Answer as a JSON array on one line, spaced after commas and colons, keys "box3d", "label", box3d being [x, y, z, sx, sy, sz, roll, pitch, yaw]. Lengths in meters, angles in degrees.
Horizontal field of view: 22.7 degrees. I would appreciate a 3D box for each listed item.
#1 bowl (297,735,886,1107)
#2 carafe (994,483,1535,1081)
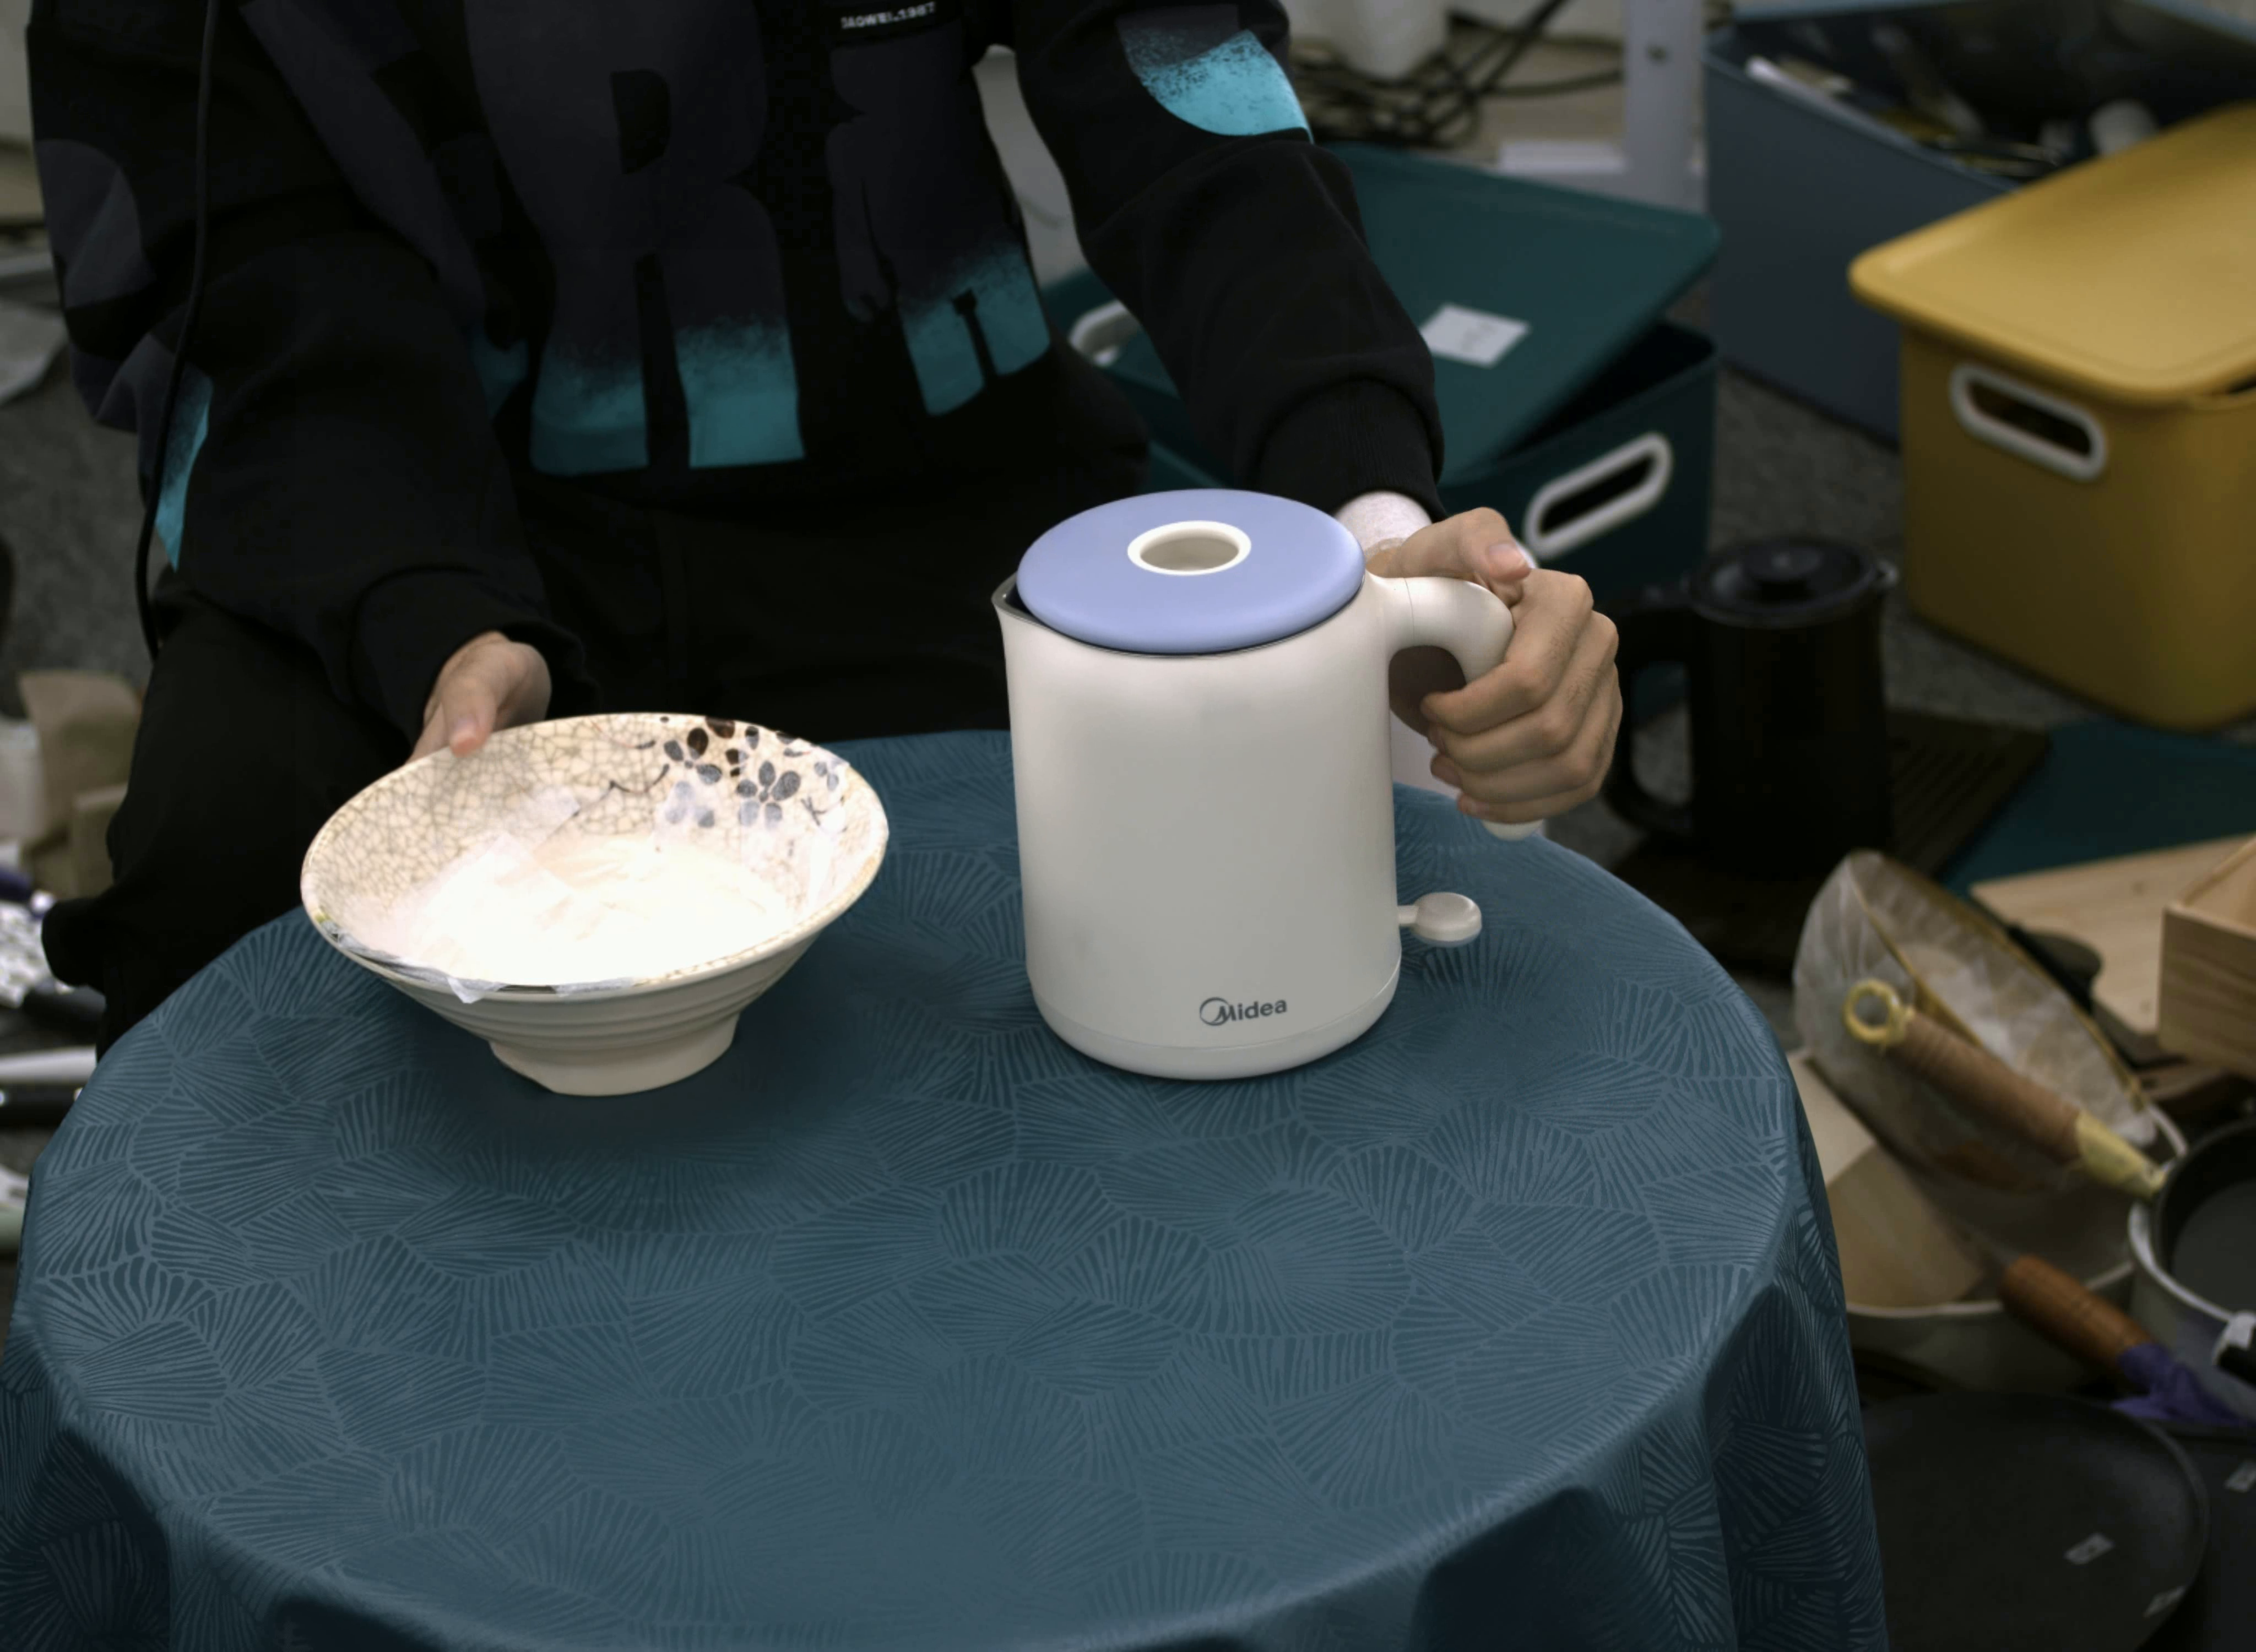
[{"box3d": [-0.183, 0.044, 1.950, 0.203, 0.077, 0.207, -2, 24, 1], "label": "bowl"}, {"box3d": [0.049, -0.018, 1.942, 0.191, 0.180, 0.134, -5, 28, -10], "label": "carafe"}]
